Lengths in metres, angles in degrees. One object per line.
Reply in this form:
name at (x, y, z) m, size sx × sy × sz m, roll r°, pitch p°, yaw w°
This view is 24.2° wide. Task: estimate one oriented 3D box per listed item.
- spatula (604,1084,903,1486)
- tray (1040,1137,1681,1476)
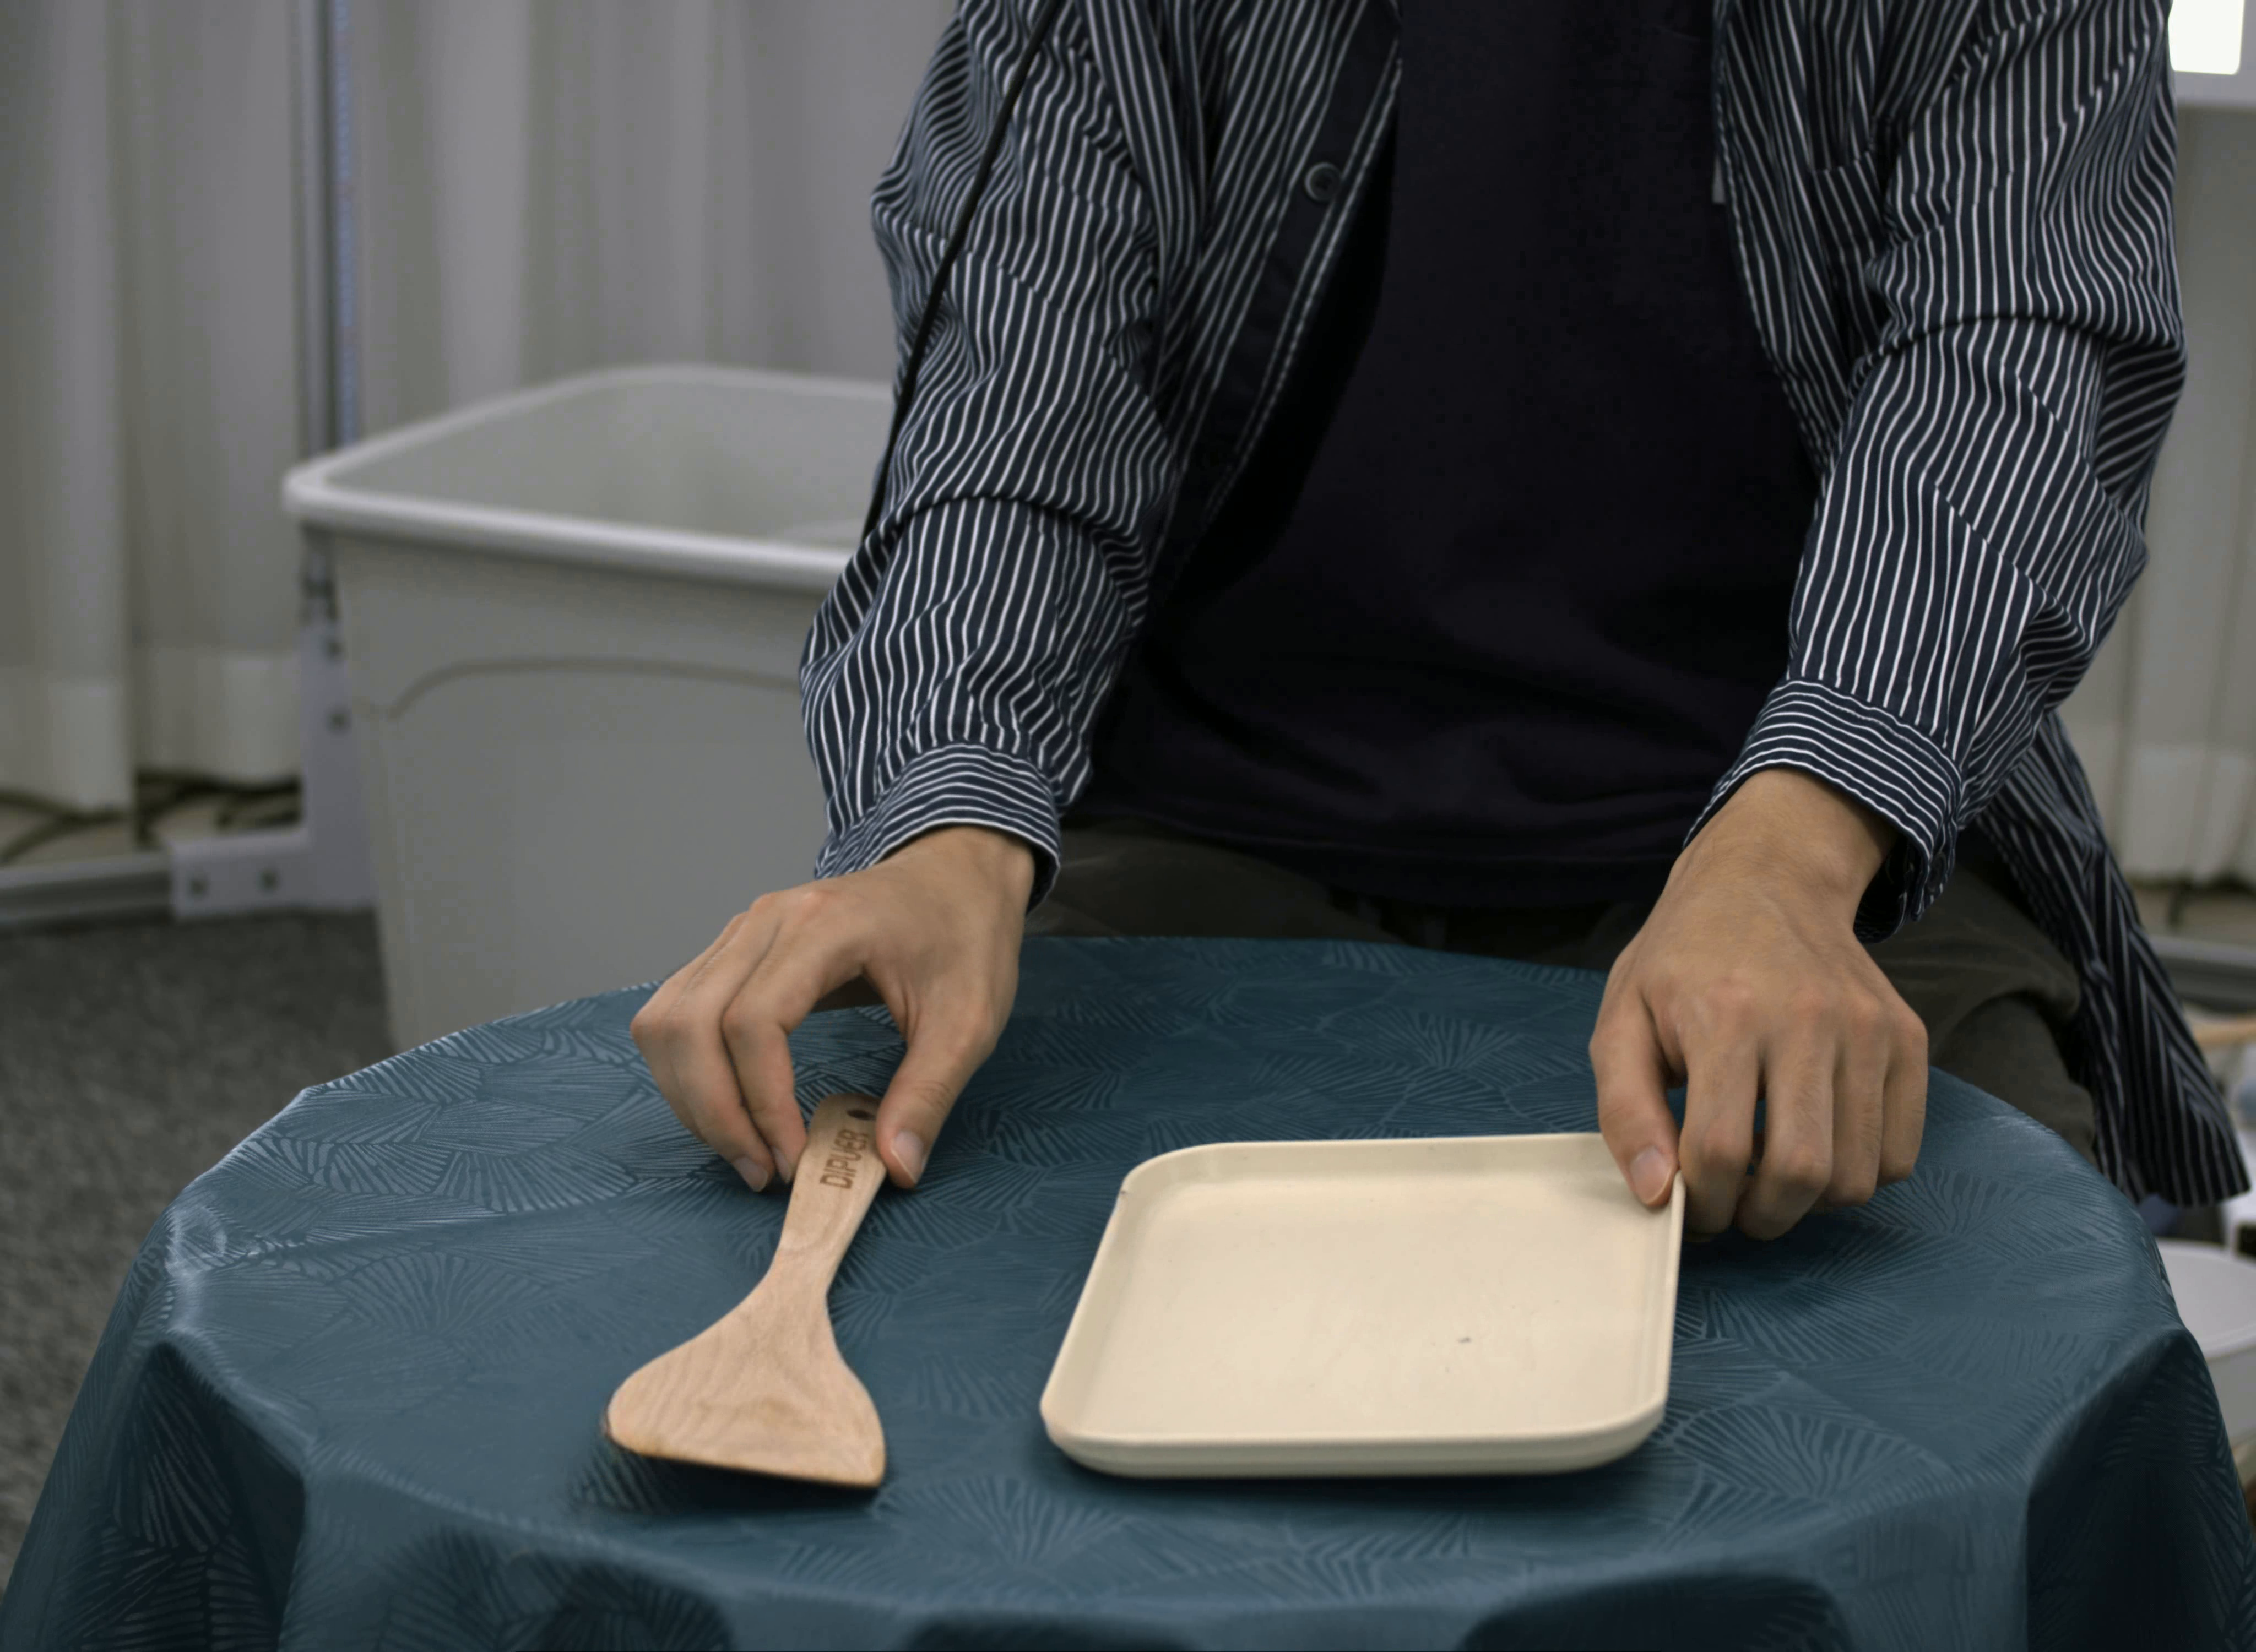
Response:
spatula at (-0.092, 0.128, 1.528) m, size 0.080 × 0.016 × 0.326 m, roll 11°, pitch 17°, yaw 0°
tray at (0.071, 0.135, 1.496) m, size 0.170 × 0.017 × 0.239 m, roll -1°, pitch 16°, yaw 7°
